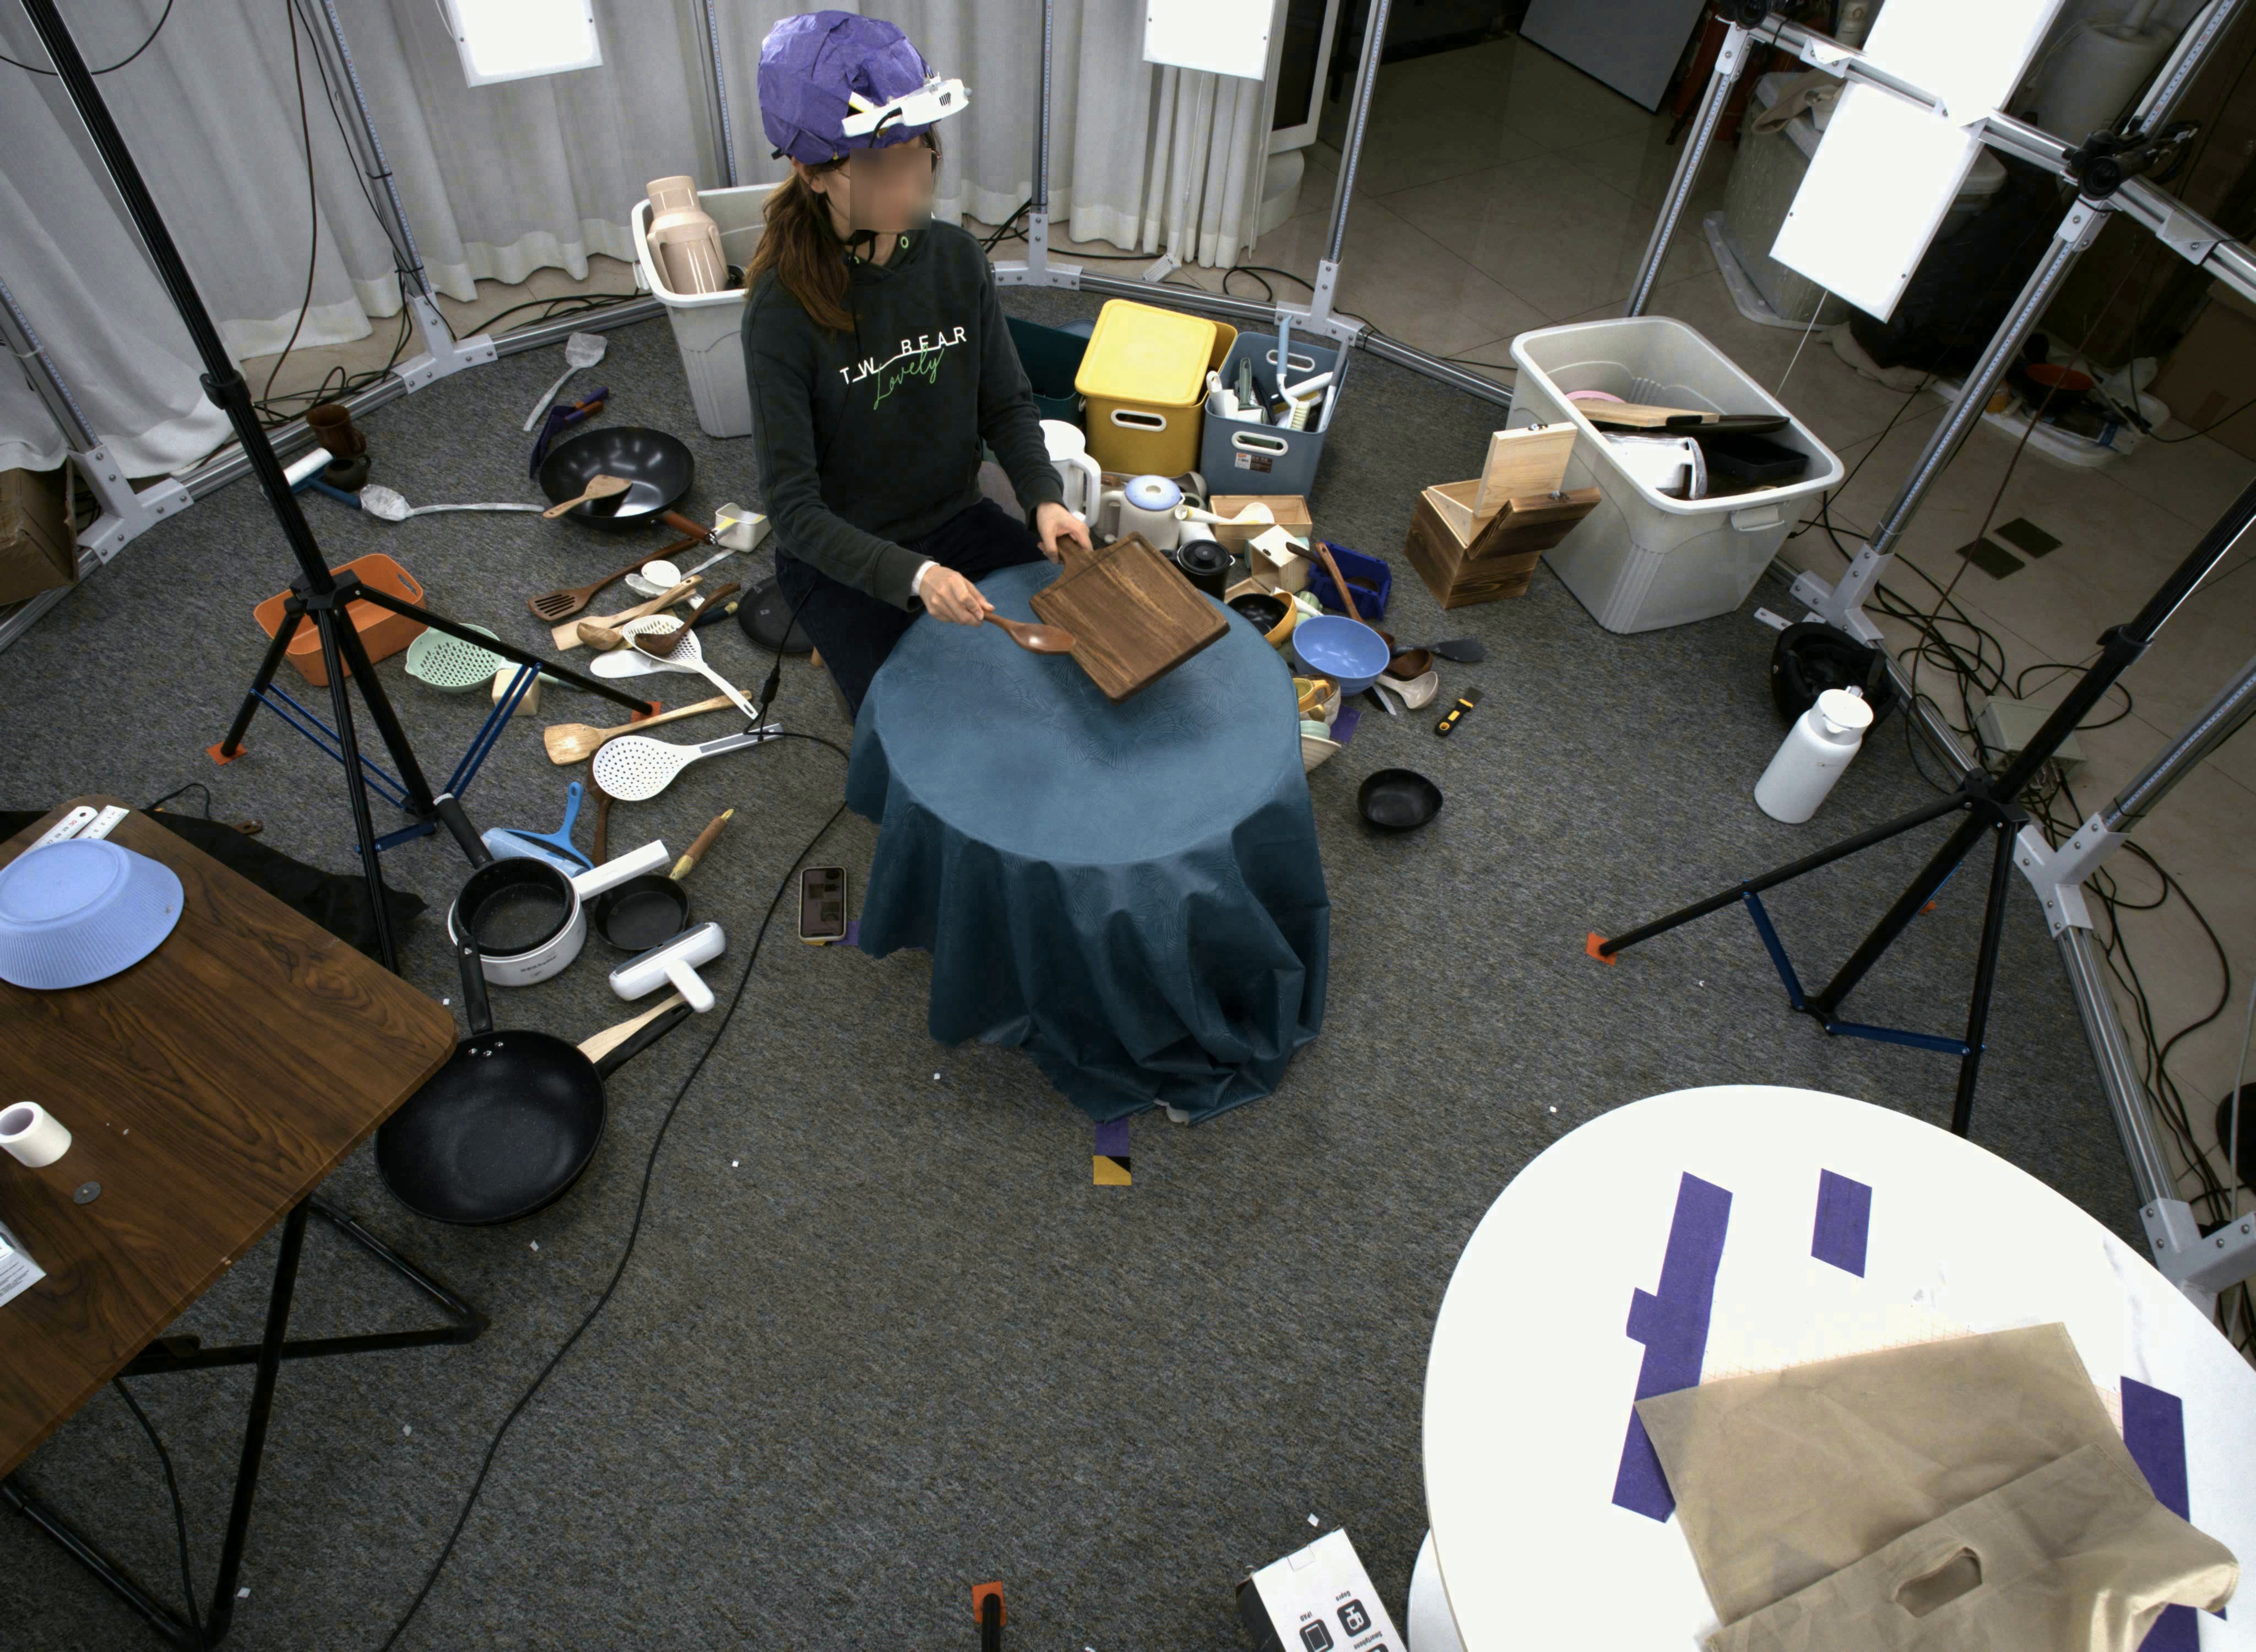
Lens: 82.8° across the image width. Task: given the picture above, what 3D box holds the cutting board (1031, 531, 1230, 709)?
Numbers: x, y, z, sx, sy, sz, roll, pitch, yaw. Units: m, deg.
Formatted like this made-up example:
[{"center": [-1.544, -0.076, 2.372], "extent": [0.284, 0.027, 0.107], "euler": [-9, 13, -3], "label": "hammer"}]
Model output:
[{"center": [-0.025, -0.328, 1.862], "extent": [0.201, 0.022, 0.360], "euler": [-34, 53, -6], "label": "cutting board"}]

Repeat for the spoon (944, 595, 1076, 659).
[{"center": [-0.162, -0.267, 1.724], "extent": [0.218, 0.017, 0.076], "euler": [28, 38, 27], "label": "spoon"}]
